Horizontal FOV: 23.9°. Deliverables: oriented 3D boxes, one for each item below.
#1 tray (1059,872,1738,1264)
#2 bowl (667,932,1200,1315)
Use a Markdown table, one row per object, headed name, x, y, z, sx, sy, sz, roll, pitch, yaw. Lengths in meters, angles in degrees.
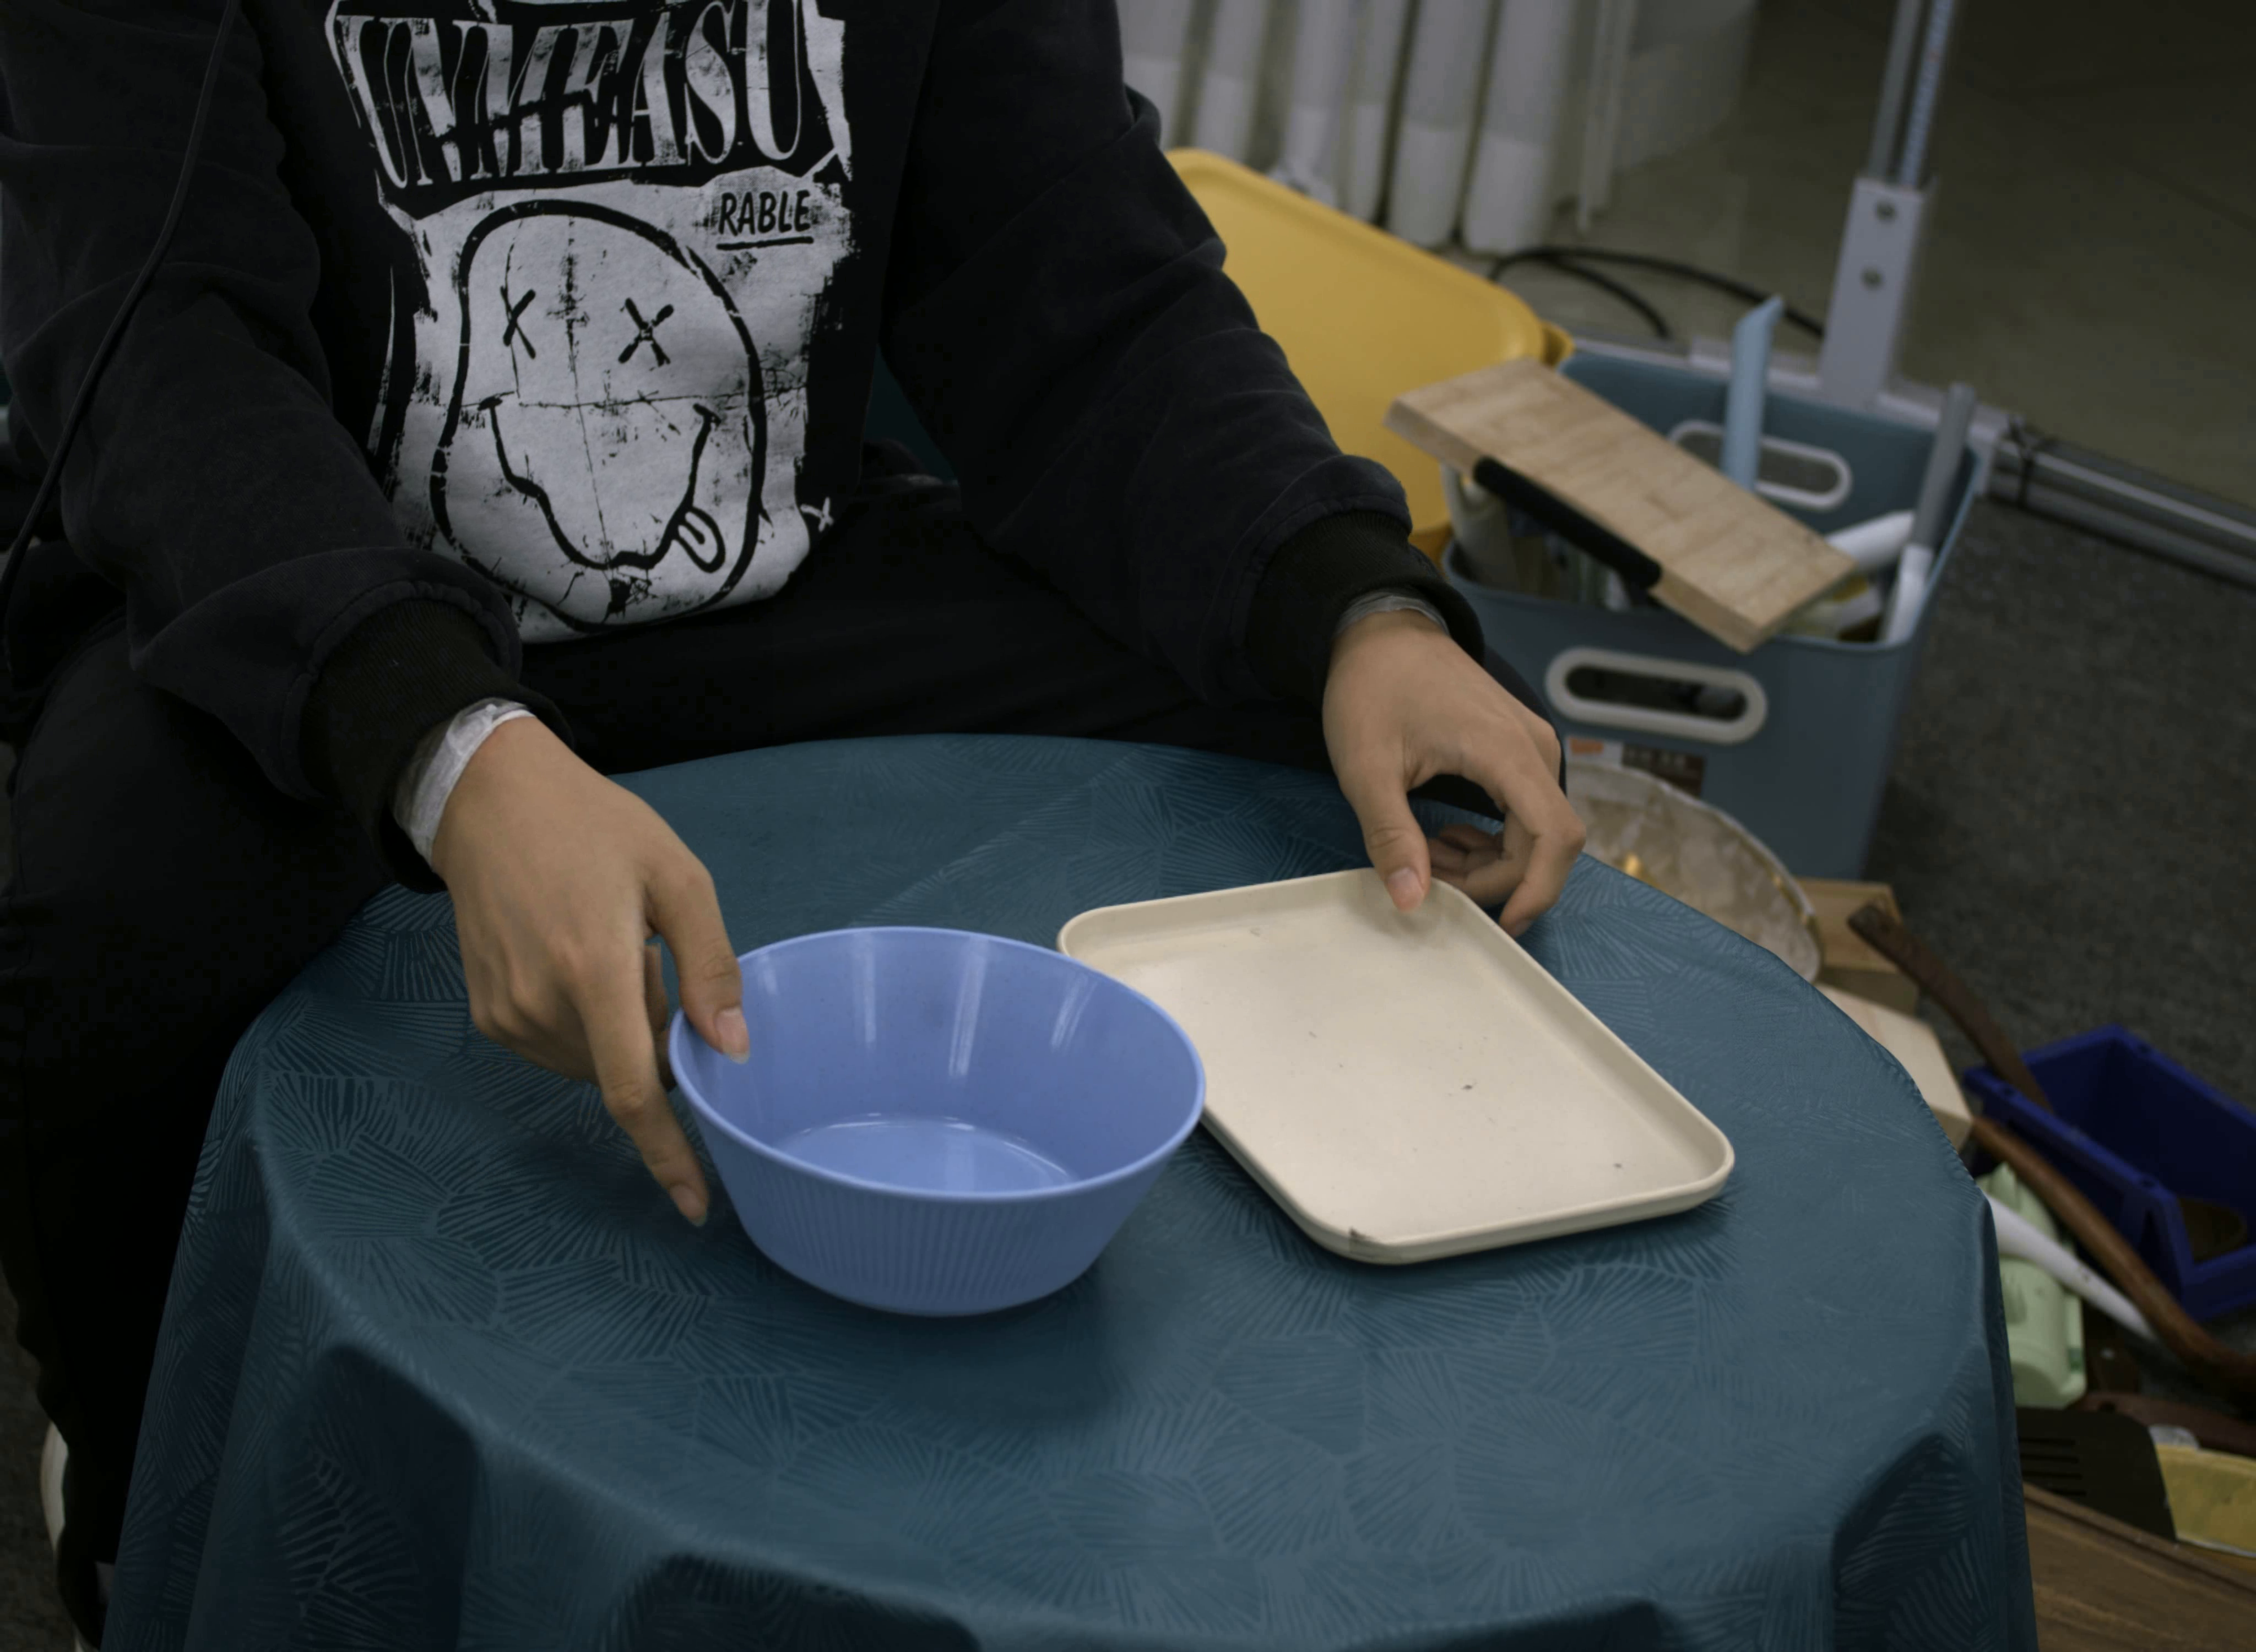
| name | x | y | z | sx | sy | sz | roll | pitch | yaw |
| --- | --- | --- | --- | --- | --- | --- | --- | --- | --- |
| tray | 0.092 | 0.084 | 1.880 | 0.170 | 0.017 | 0.242 | -7 | 30 | -26 |
| bowl | -0.067 | 0.104 | 1.747 | 0.175 | 0.070 | 0.177 | 6 | 26 | -3 |
